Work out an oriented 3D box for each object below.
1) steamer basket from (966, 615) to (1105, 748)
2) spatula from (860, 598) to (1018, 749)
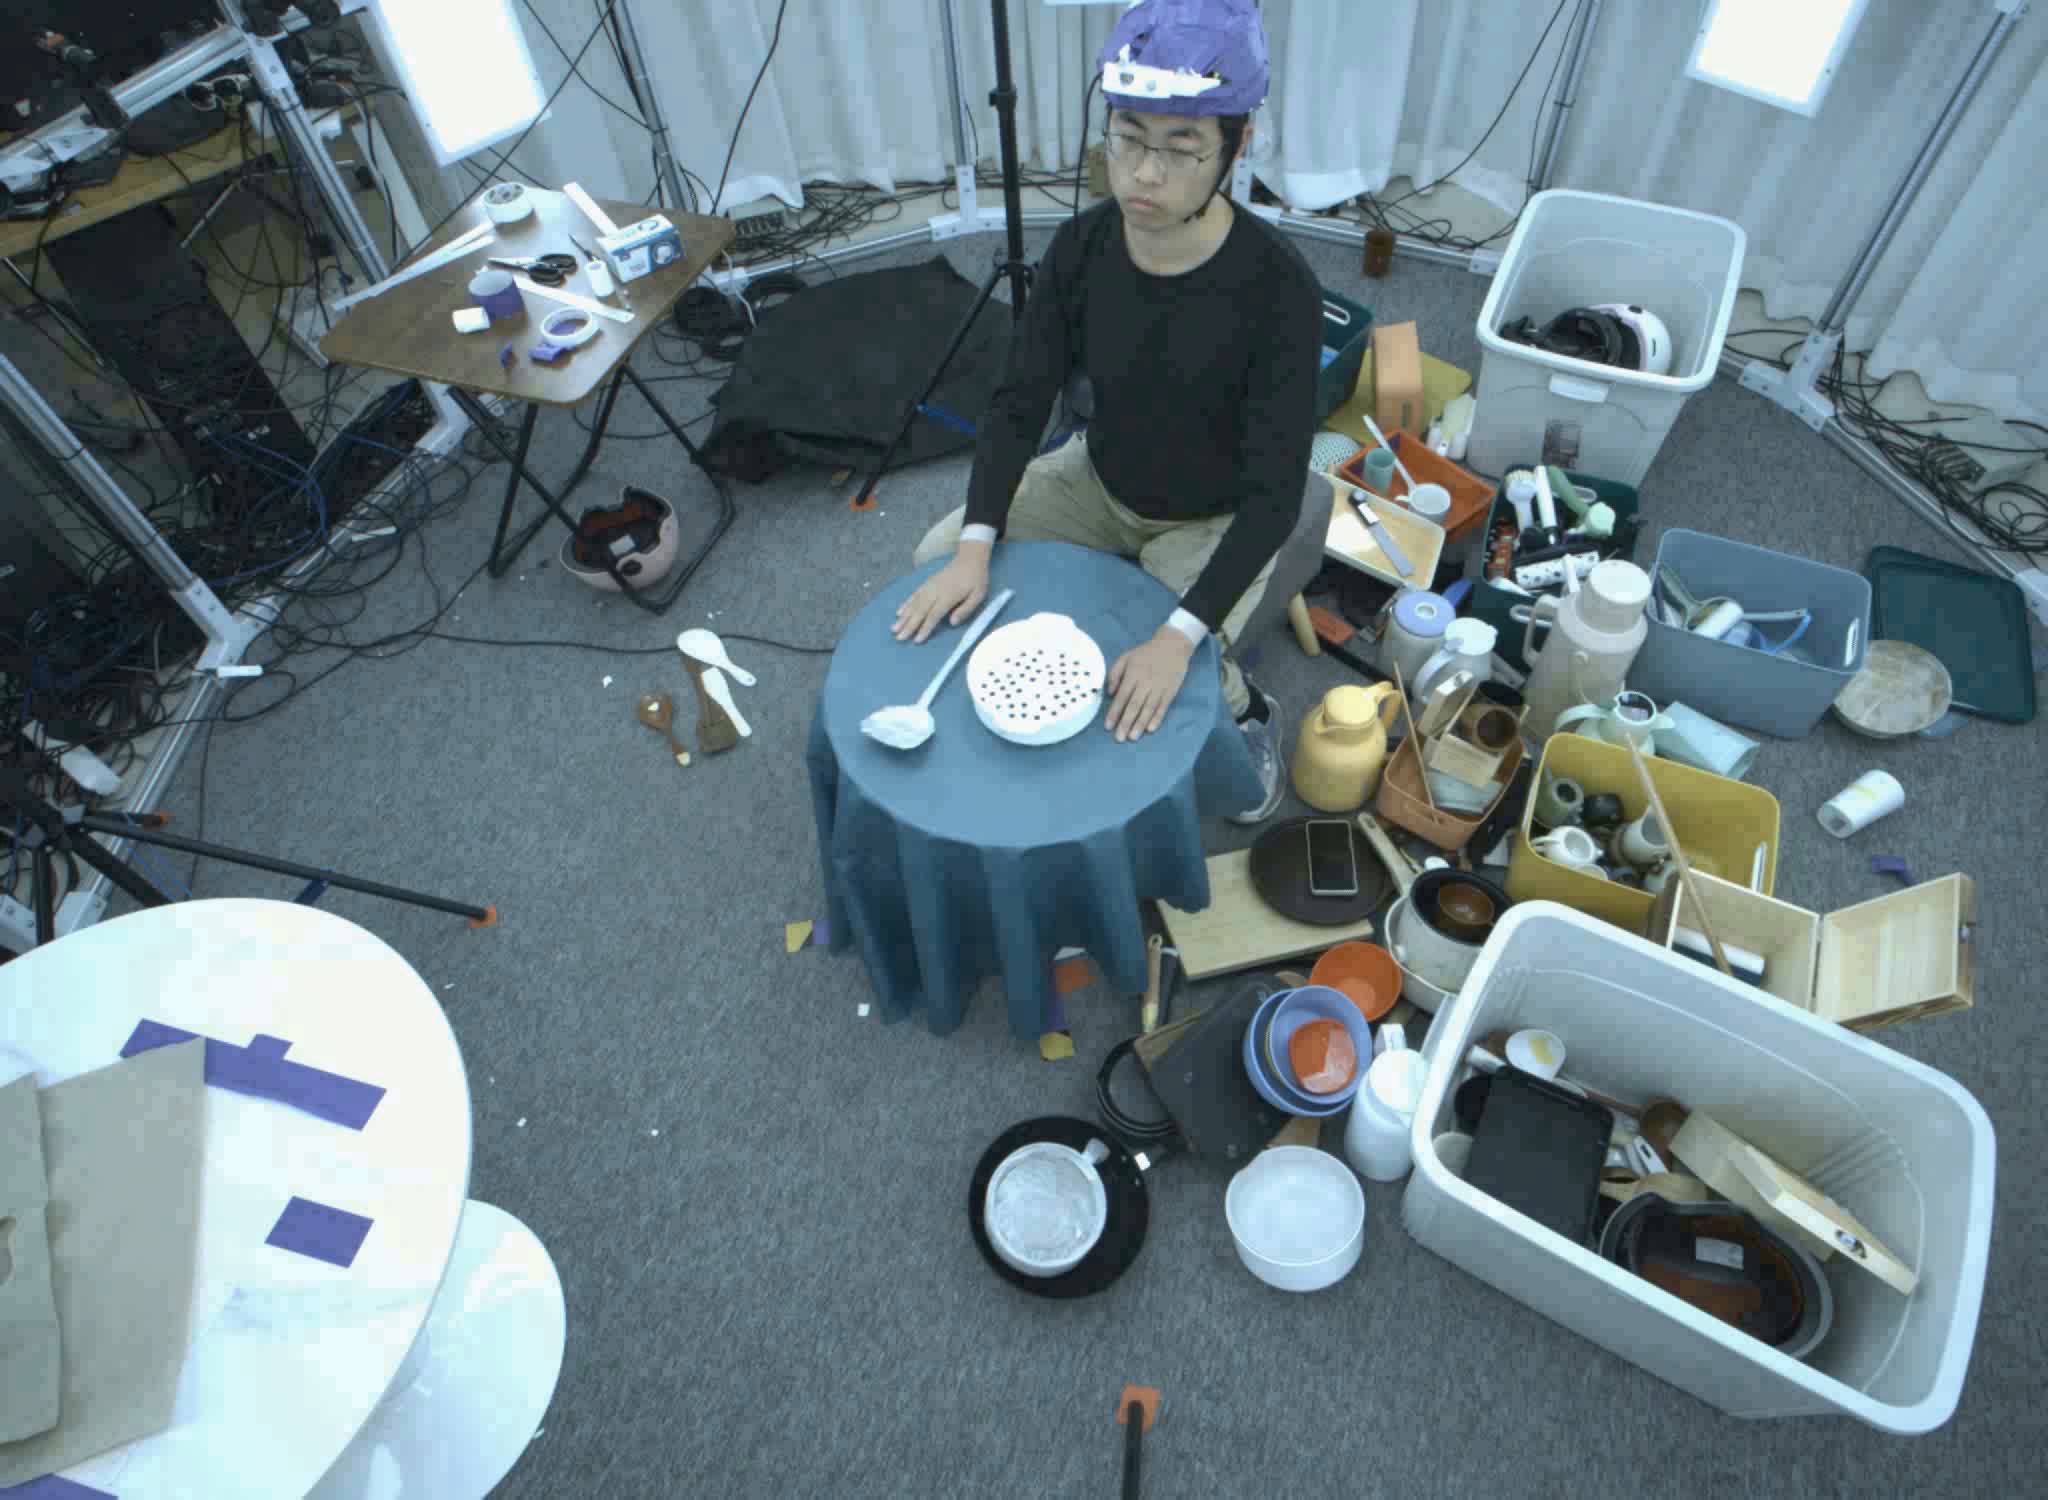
[{"bbox_3d":[0.017,-0.096,1.812,0.200,0.070,0.230,12,55,9],"label":"steamer basket"},{"bbox_3d":[-0.113,-0.129,1.860,0.097,0.045,0.366,23,59,20],"label":"spatula"}]
